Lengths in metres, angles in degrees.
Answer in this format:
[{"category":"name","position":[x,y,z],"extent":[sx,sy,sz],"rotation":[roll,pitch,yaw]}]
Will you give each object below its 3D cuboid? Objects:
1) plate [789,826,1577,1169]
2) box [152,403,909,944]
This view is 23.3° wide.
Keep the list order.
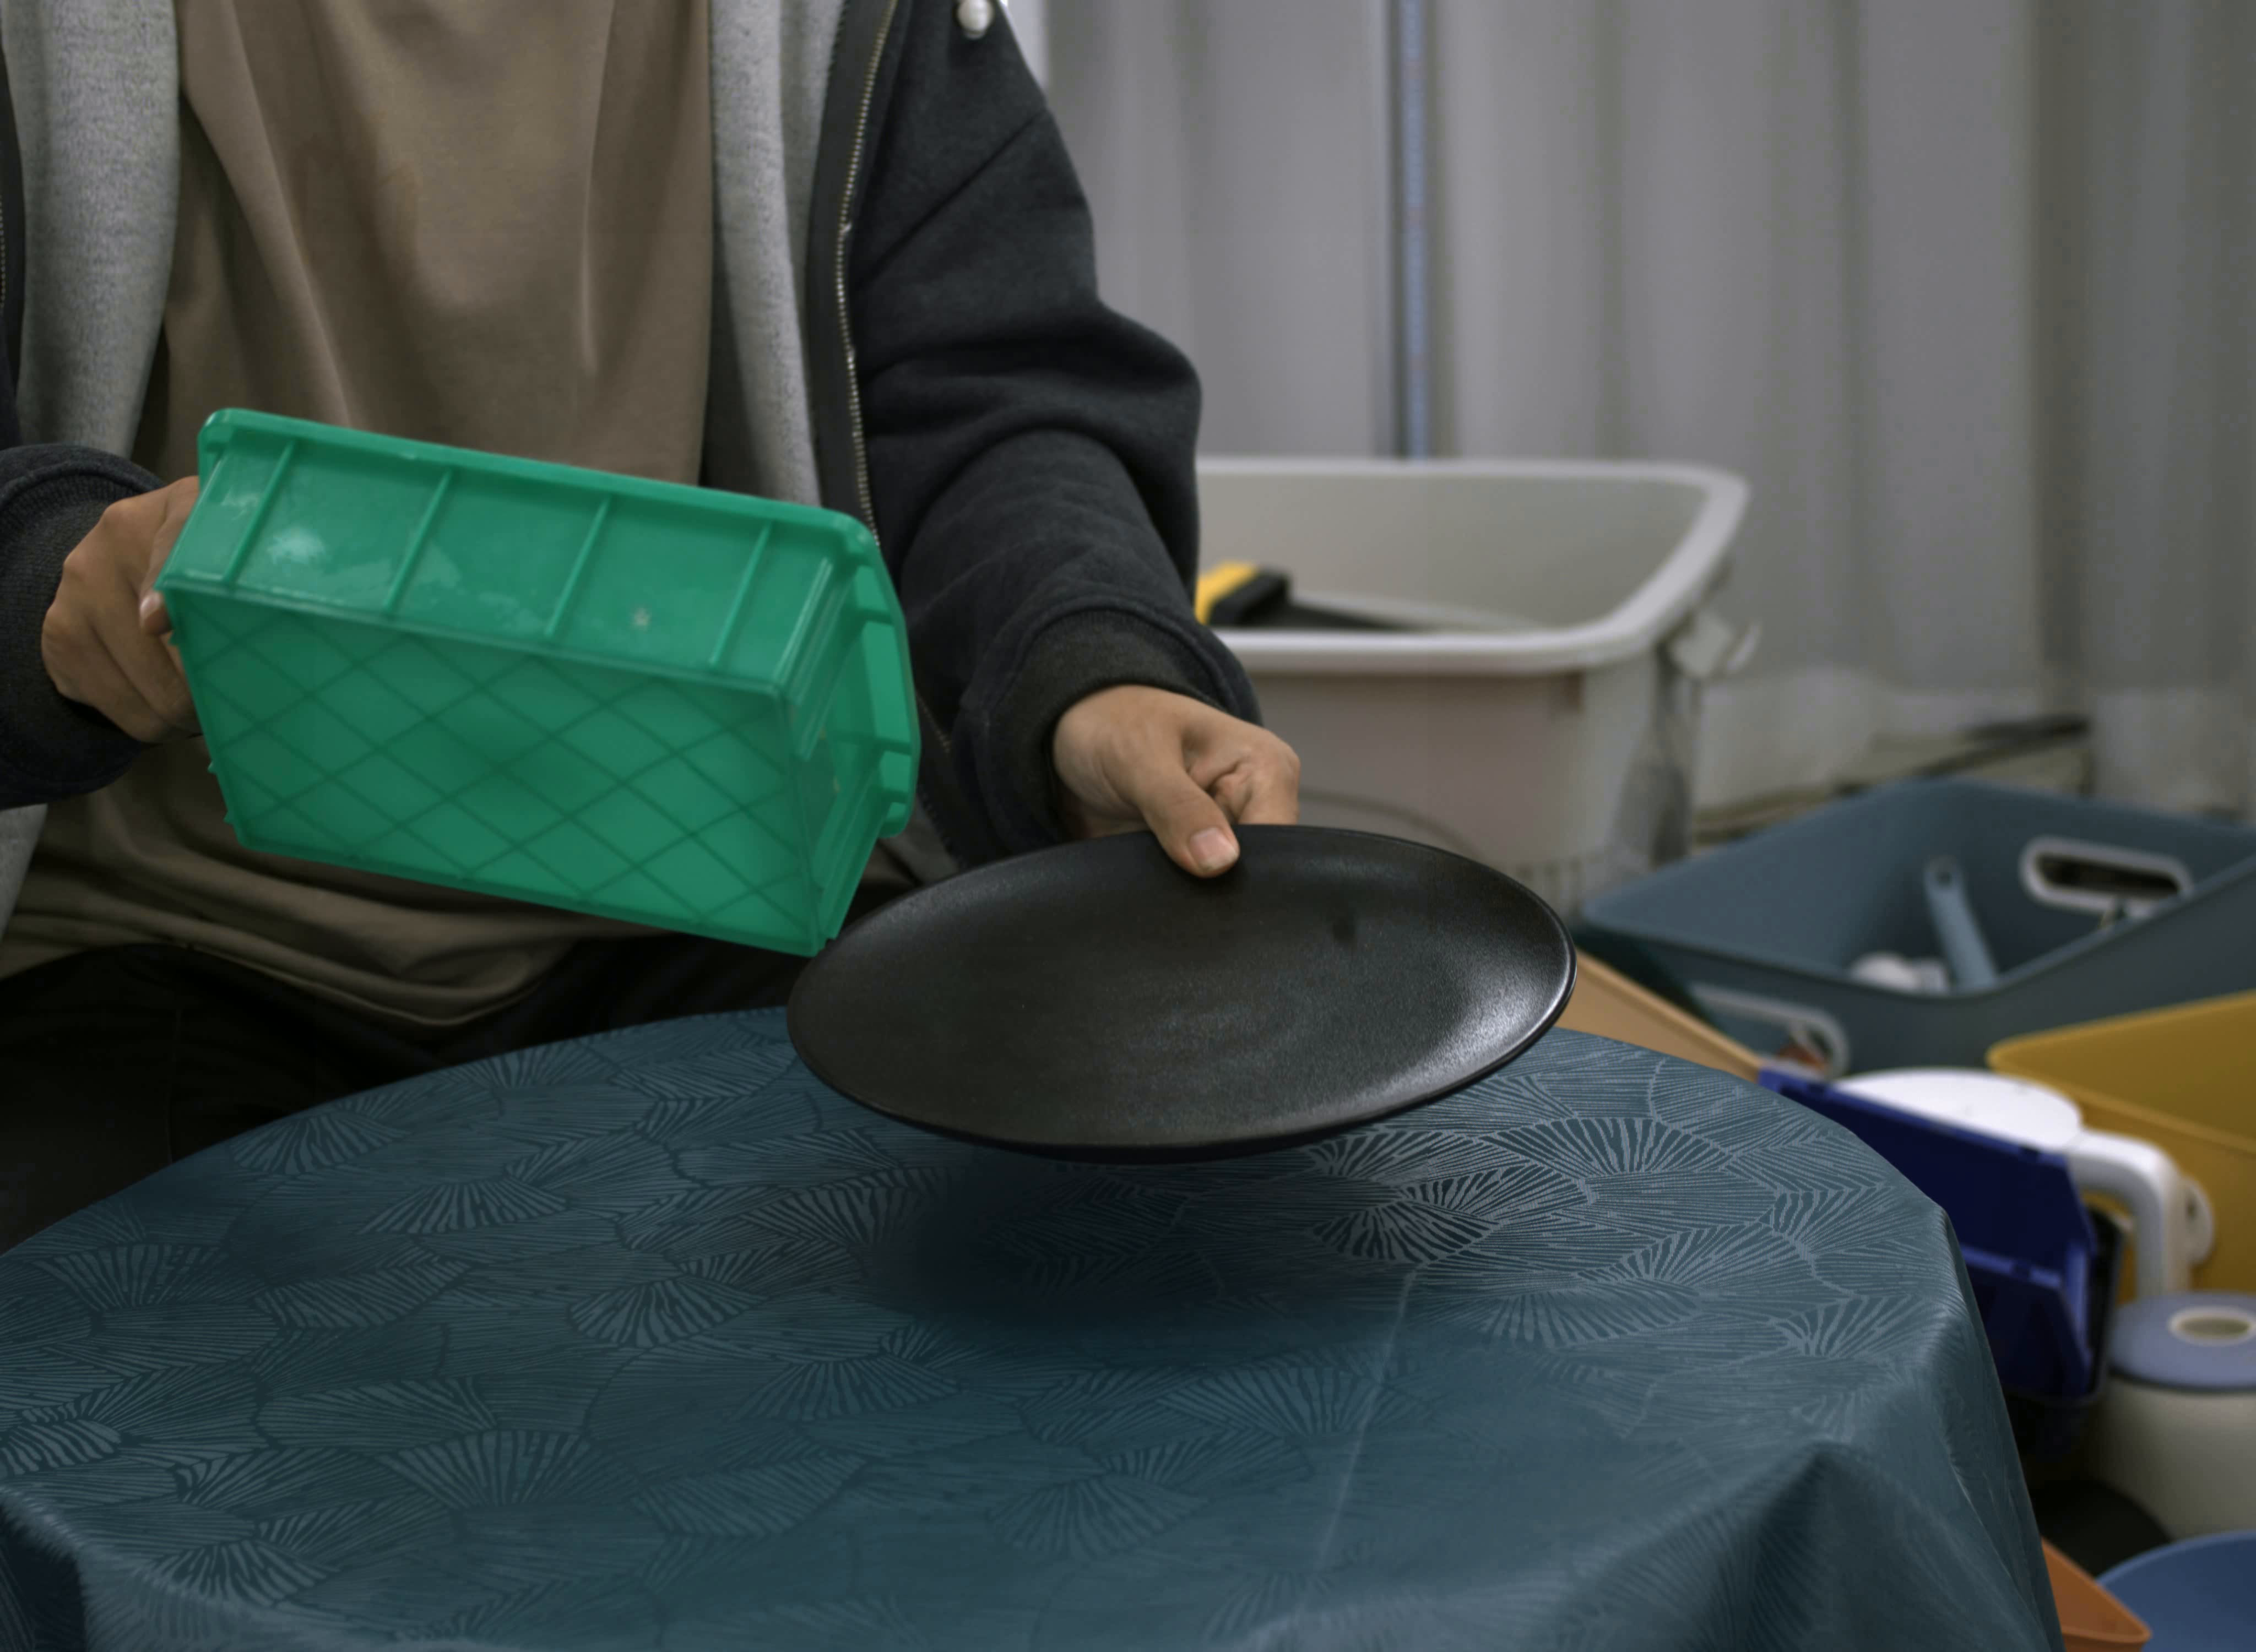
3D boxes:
[{"category":"plate","position":[0.017,0.056,1.685],"extent":[0.243,0.023,0.247],"rotation":[-5,22,2]},{"category":"box","position":[-0.172,-0.039,1.552],"extent":[0.210,0.137,0.066],"rotation":[9,50,11]}]
